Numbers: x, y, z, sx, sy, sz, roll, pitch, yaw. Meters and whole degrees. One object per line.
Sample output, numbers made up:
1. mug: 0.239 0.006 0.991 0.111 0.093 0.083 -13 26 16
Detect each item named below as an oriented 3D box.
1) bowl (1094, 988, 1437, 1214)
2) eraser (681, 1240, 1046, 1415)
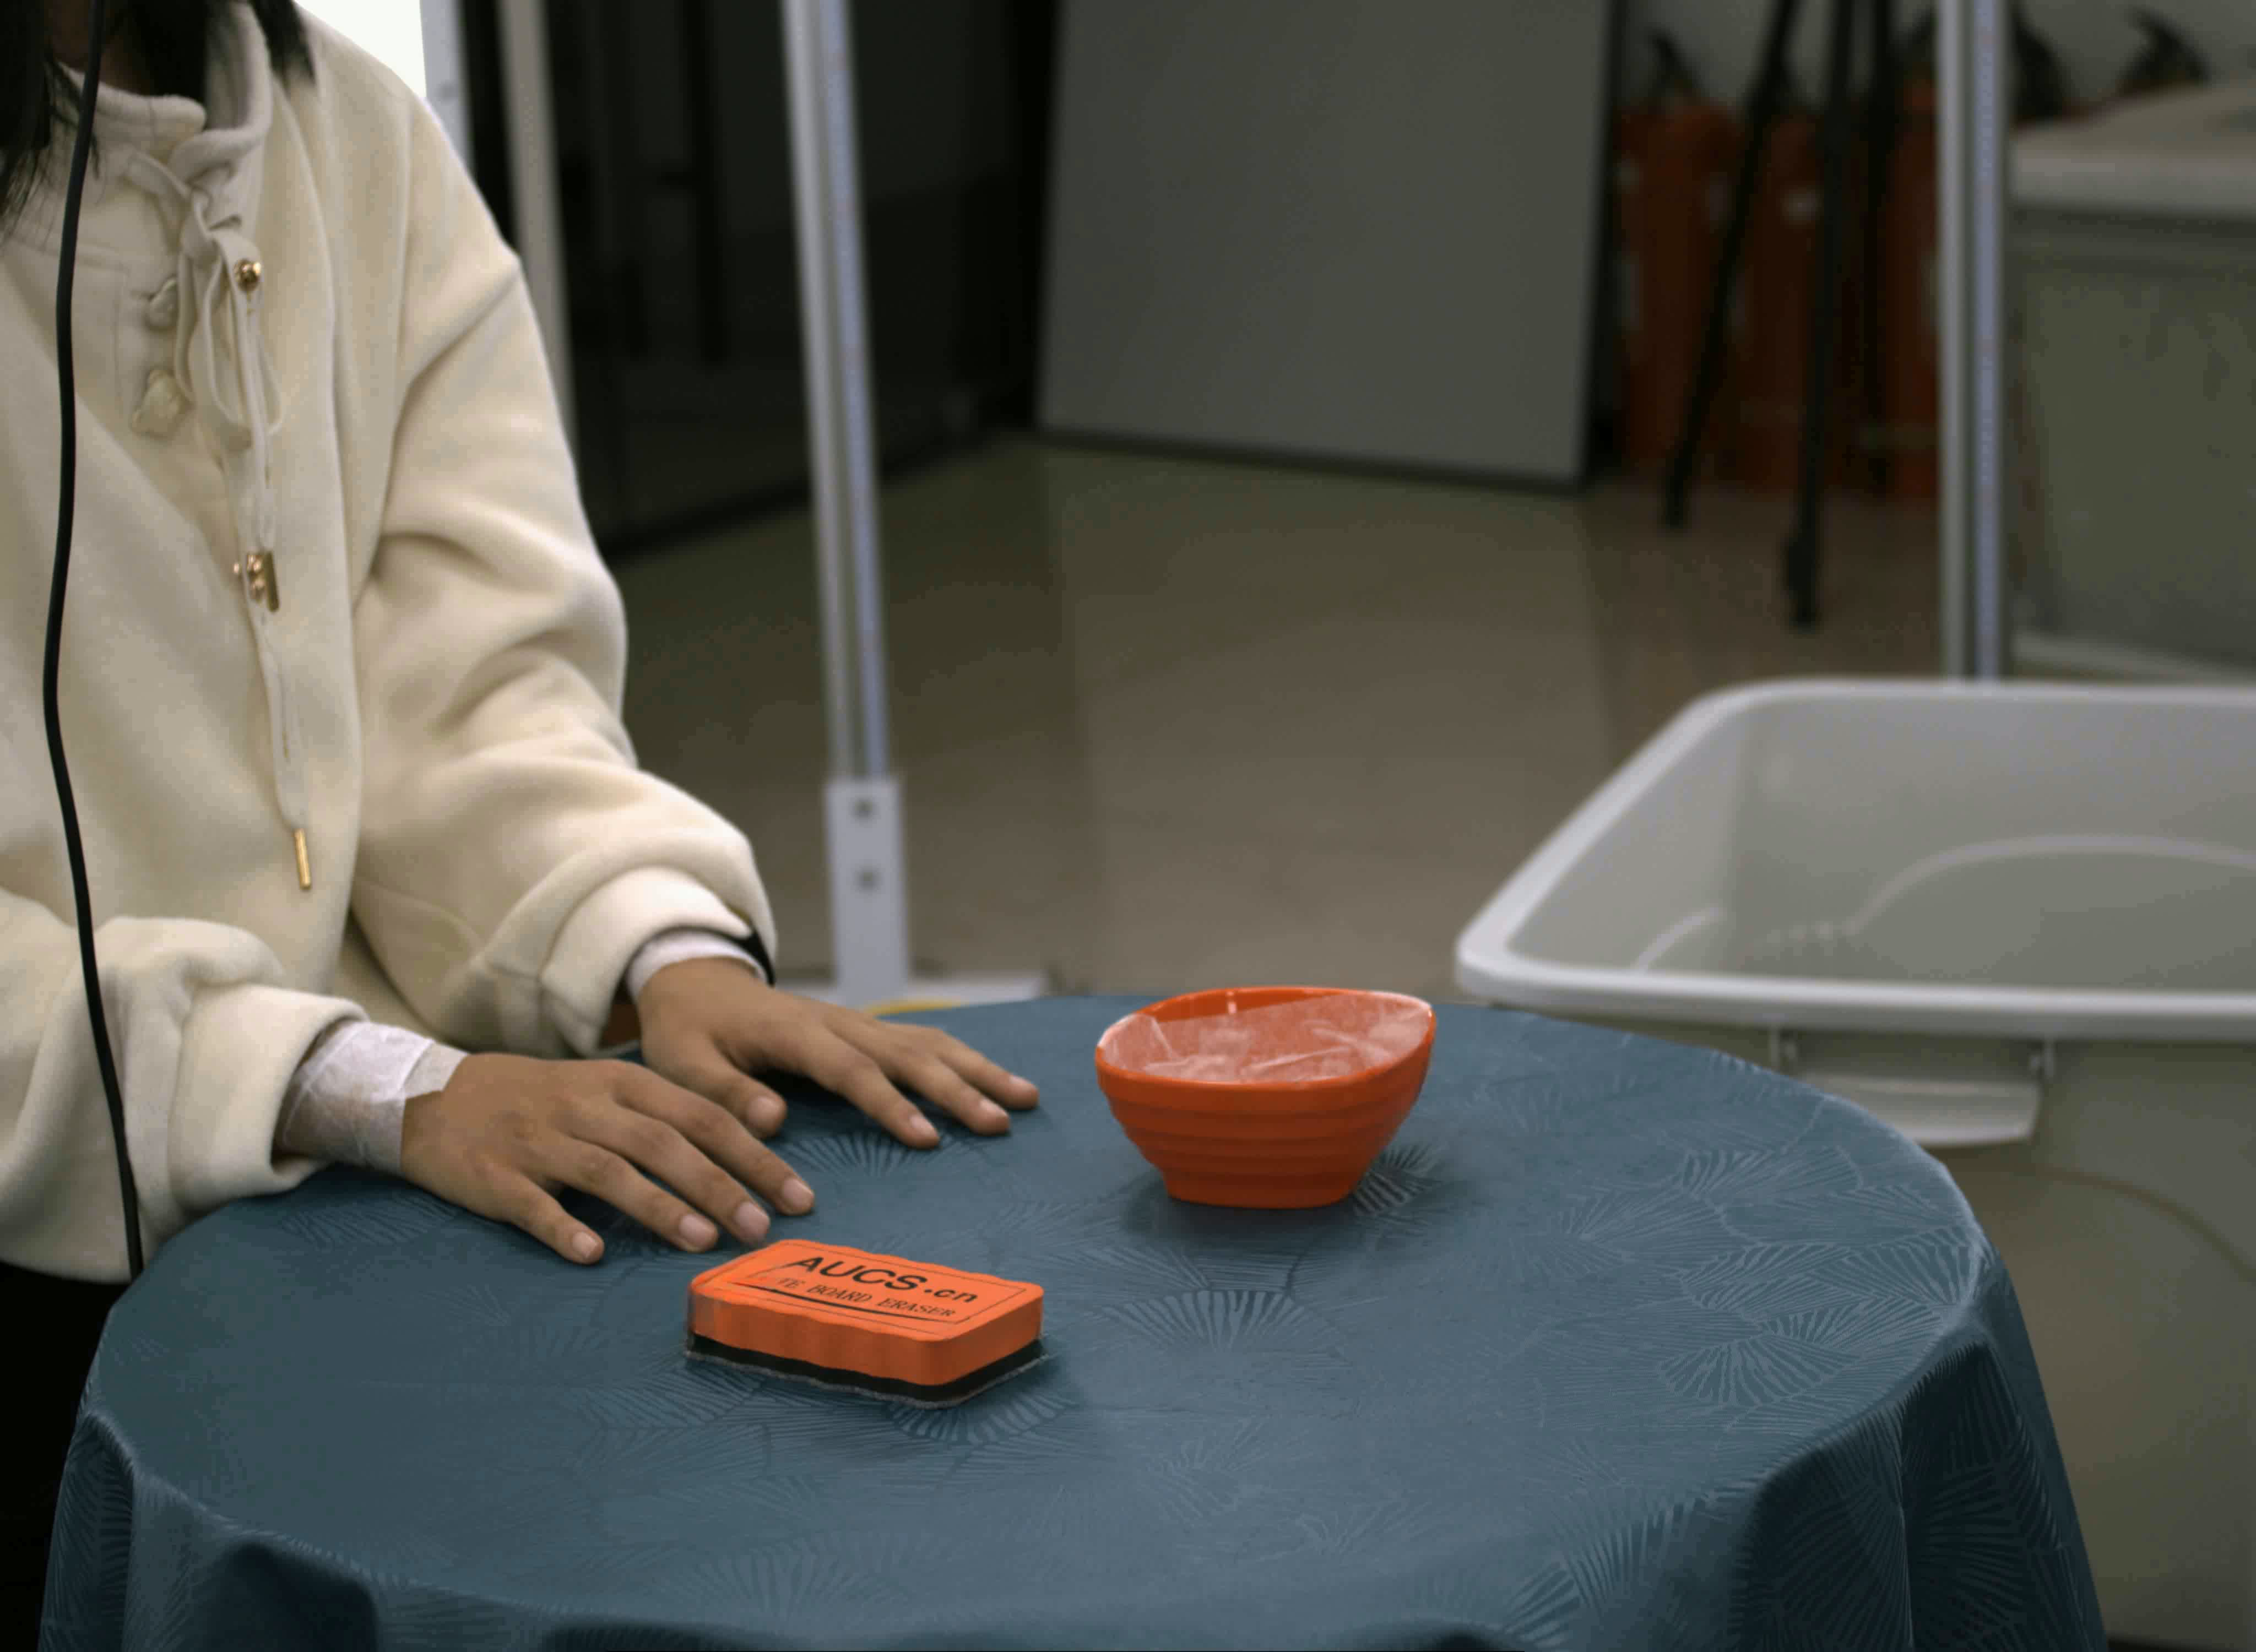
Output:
1. bowl: 0.047 0.092 1.768 0.117 0.052 0.119 -6 14 0
2. eraser: -0.080 0.150 1.627 0.109 0.023 0.058 7 20 39
